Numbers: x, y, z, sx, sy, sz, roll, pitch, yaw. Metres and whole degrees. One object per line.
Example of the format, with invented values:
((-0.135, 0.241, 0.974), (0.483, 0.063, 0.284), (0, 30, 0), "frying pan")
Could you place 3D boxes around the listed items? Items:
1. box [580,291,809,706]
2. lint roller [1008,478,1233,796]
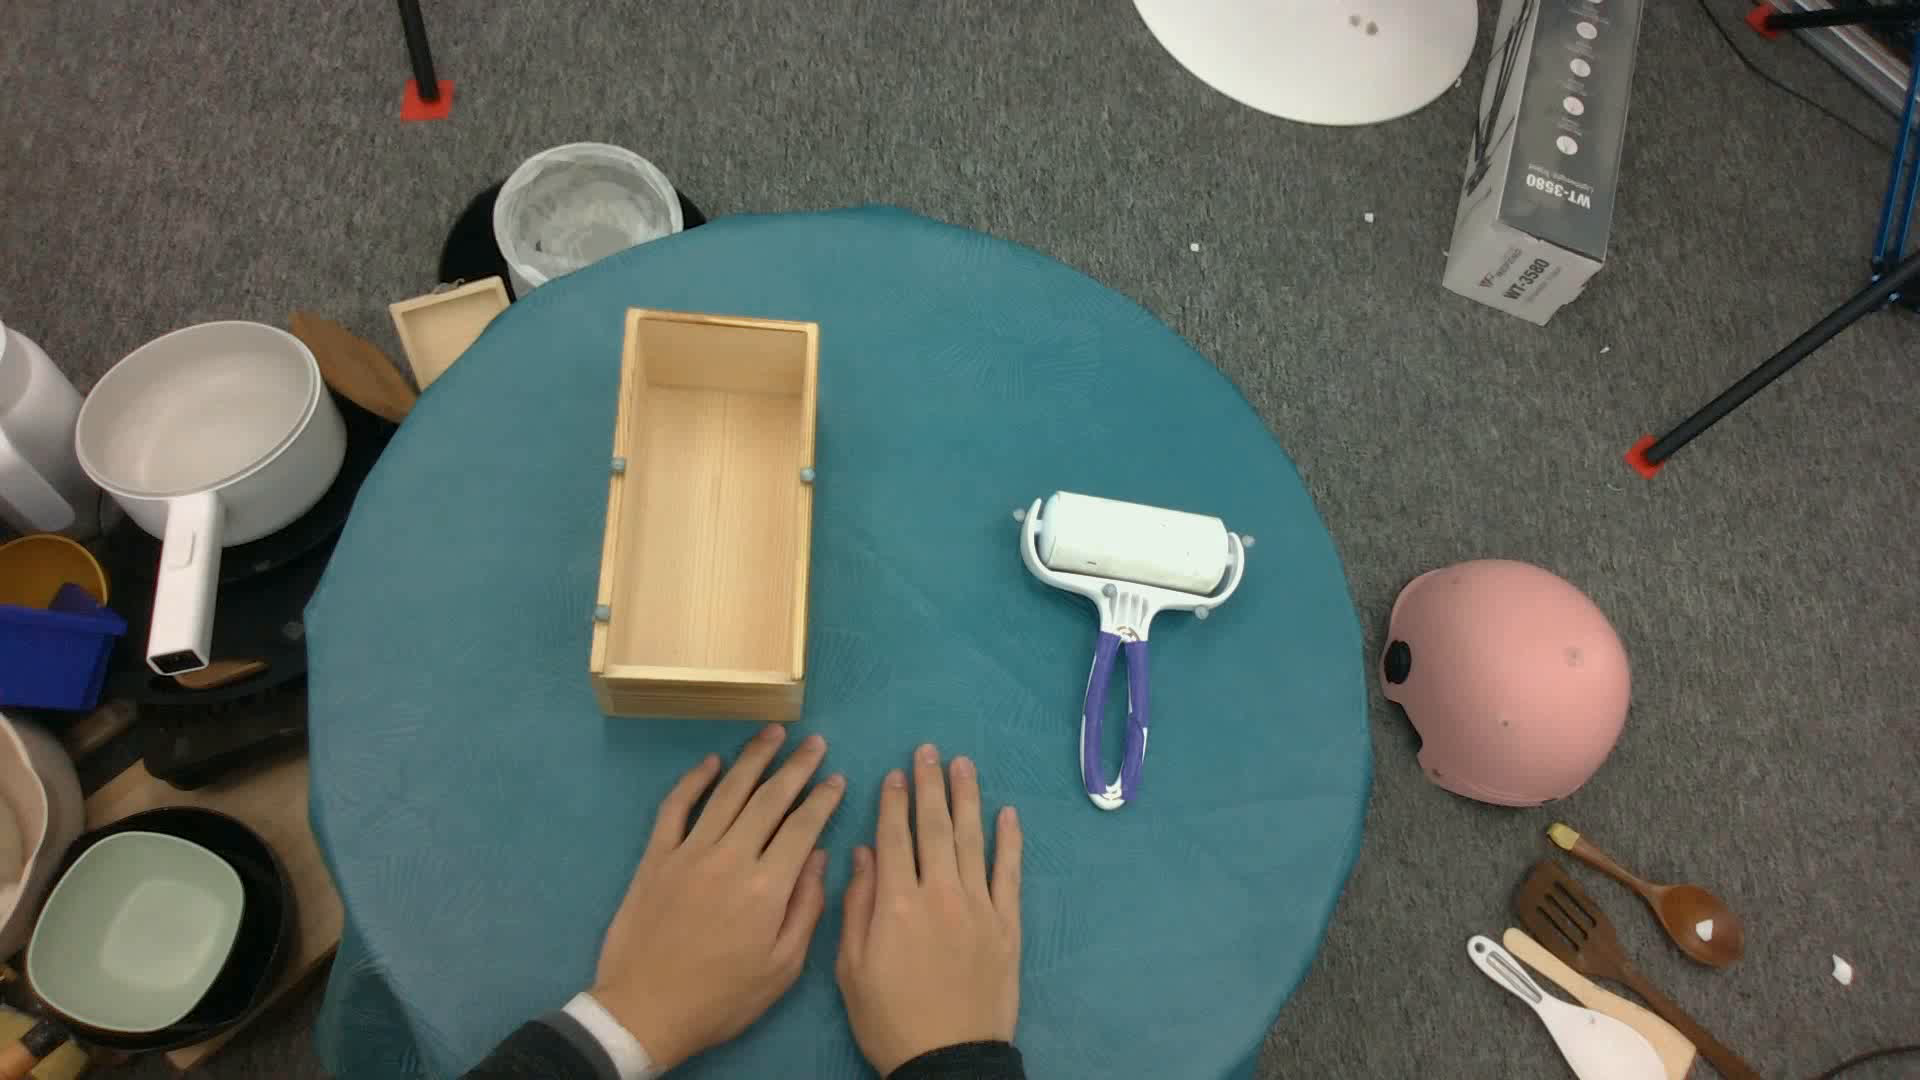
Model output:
((-0.142, -0.022, 0.758), (0.107, 0.080, 0.212), (3, 68, -10), "box")
((0.087, 0.053, 0.786), (0.133, 0.050, 0.181), (12, 64, -7), "lint roller")
